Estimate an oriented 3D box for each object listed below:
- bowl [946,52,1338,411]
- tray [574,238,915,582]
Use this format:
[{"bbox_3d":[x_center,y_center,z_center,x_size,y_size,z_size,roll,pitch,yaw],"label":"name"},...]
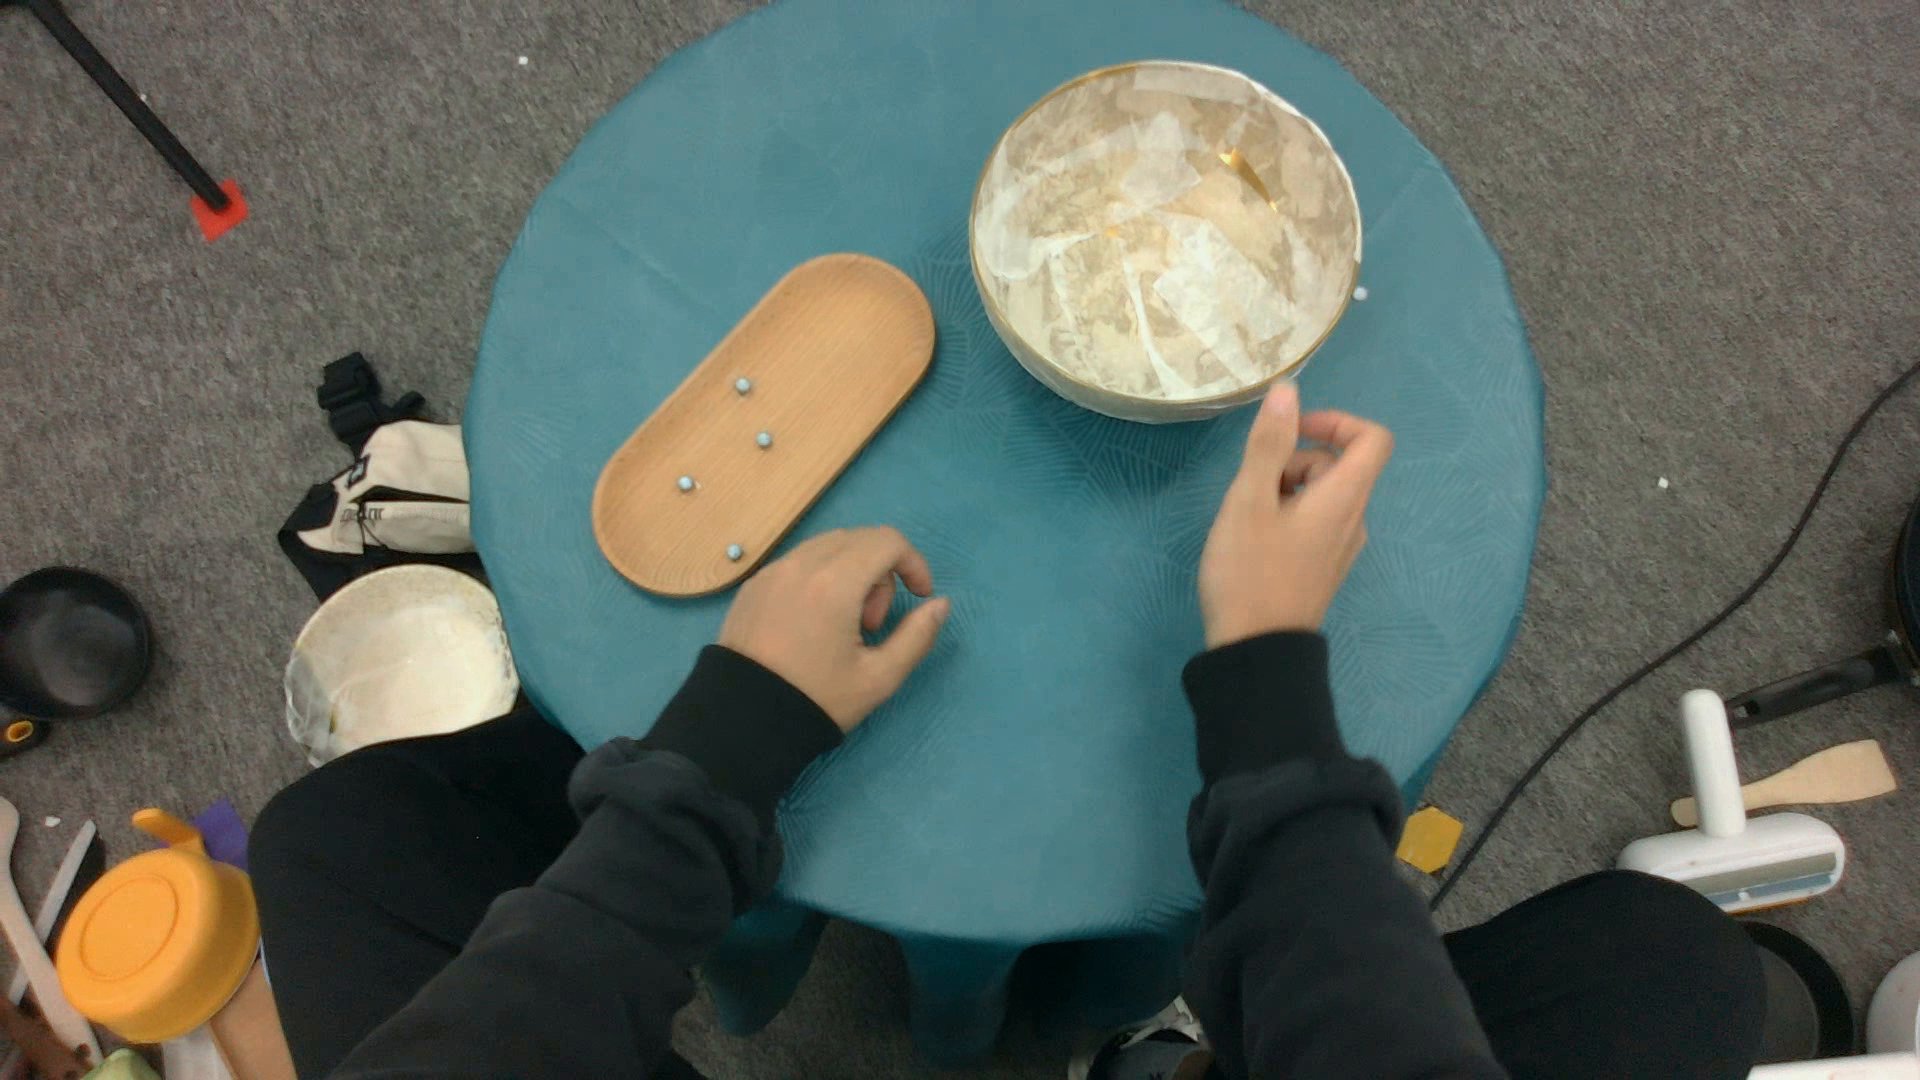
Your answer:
[{"bbox_3d":[0.090,-0.152,0.749,0.215,0.094,0.215,1,71,-2],"label":"bowl"},{"bbox_3d":[-0.115,-0.074,0.757,0.102,0.020,0.232,36,72,9],"label":"tray"}]
